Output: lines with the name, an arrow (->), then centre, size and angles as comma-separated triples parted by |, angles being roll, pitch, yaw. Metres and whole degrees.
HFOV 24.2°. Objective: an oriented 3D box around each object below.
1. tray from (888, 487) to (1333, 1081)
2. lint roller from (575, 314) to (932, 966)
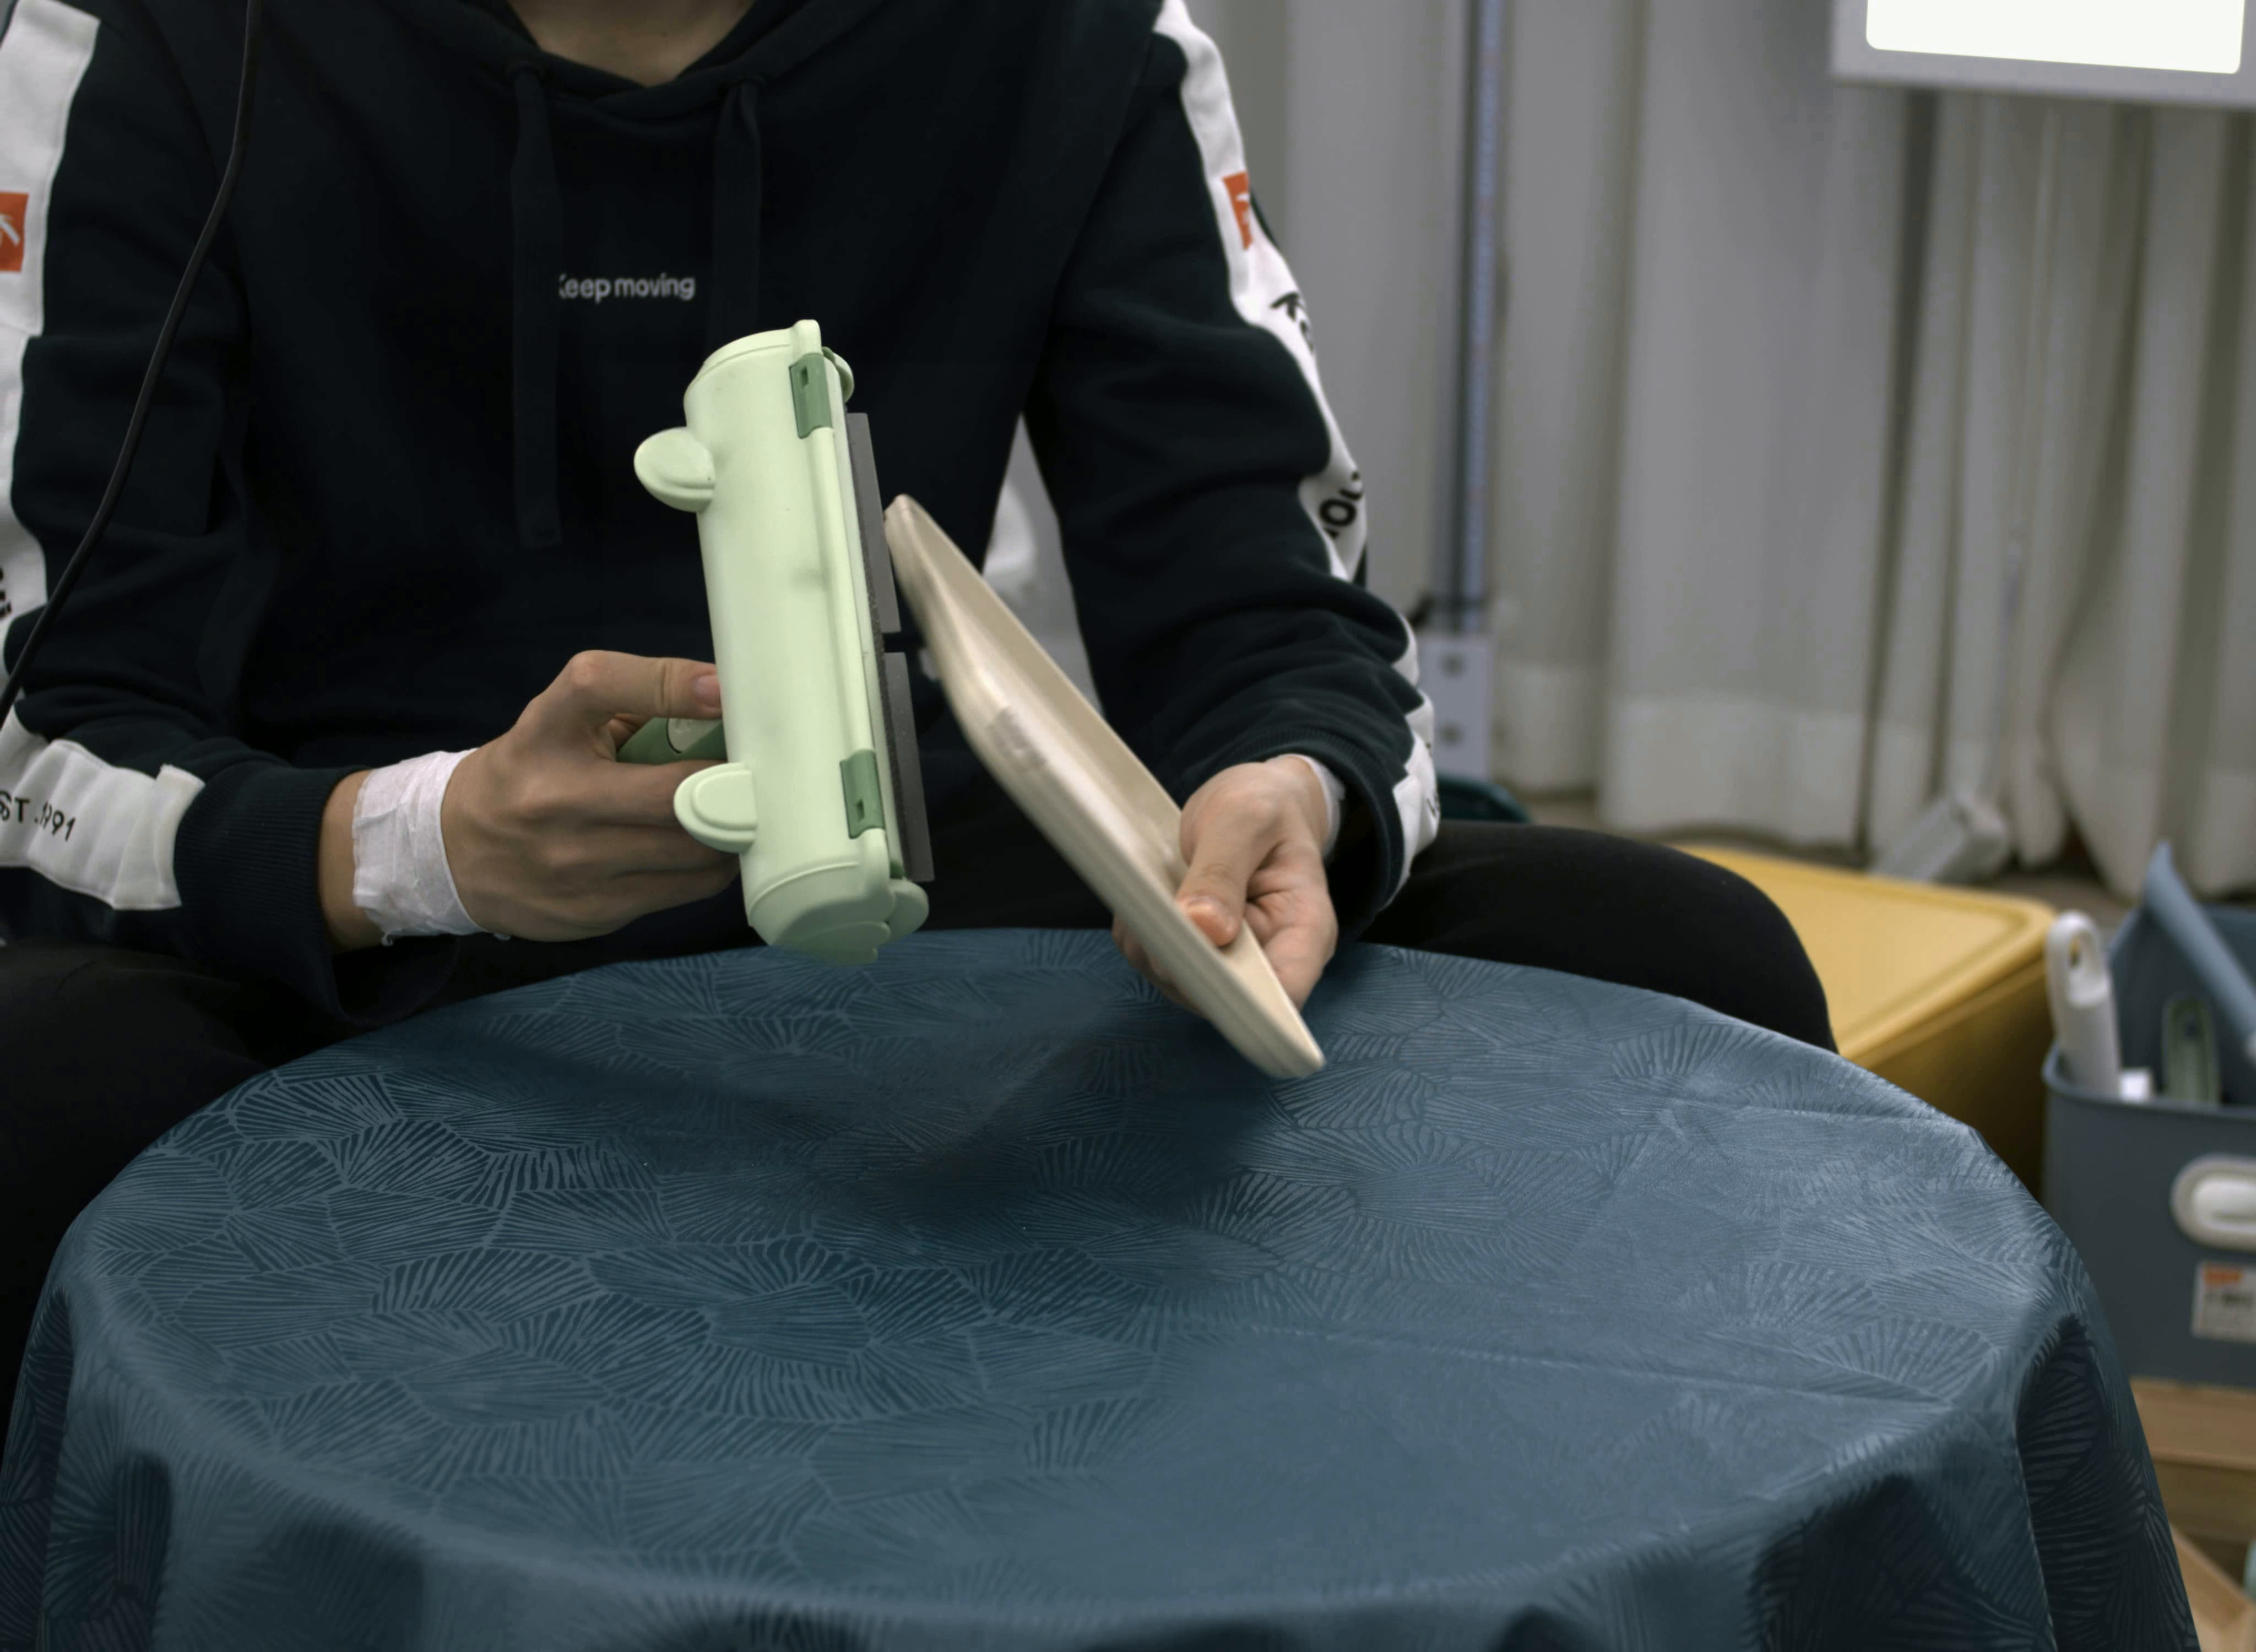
tray -> -0.010, -0.014, 1.653 | 0.017, 0.173, 0.237 | -38, 22, 4
lint roller -> -0.139, -0.035, 1.620 | 0.083, 0.197, 0.182 | 12, -32, -40
